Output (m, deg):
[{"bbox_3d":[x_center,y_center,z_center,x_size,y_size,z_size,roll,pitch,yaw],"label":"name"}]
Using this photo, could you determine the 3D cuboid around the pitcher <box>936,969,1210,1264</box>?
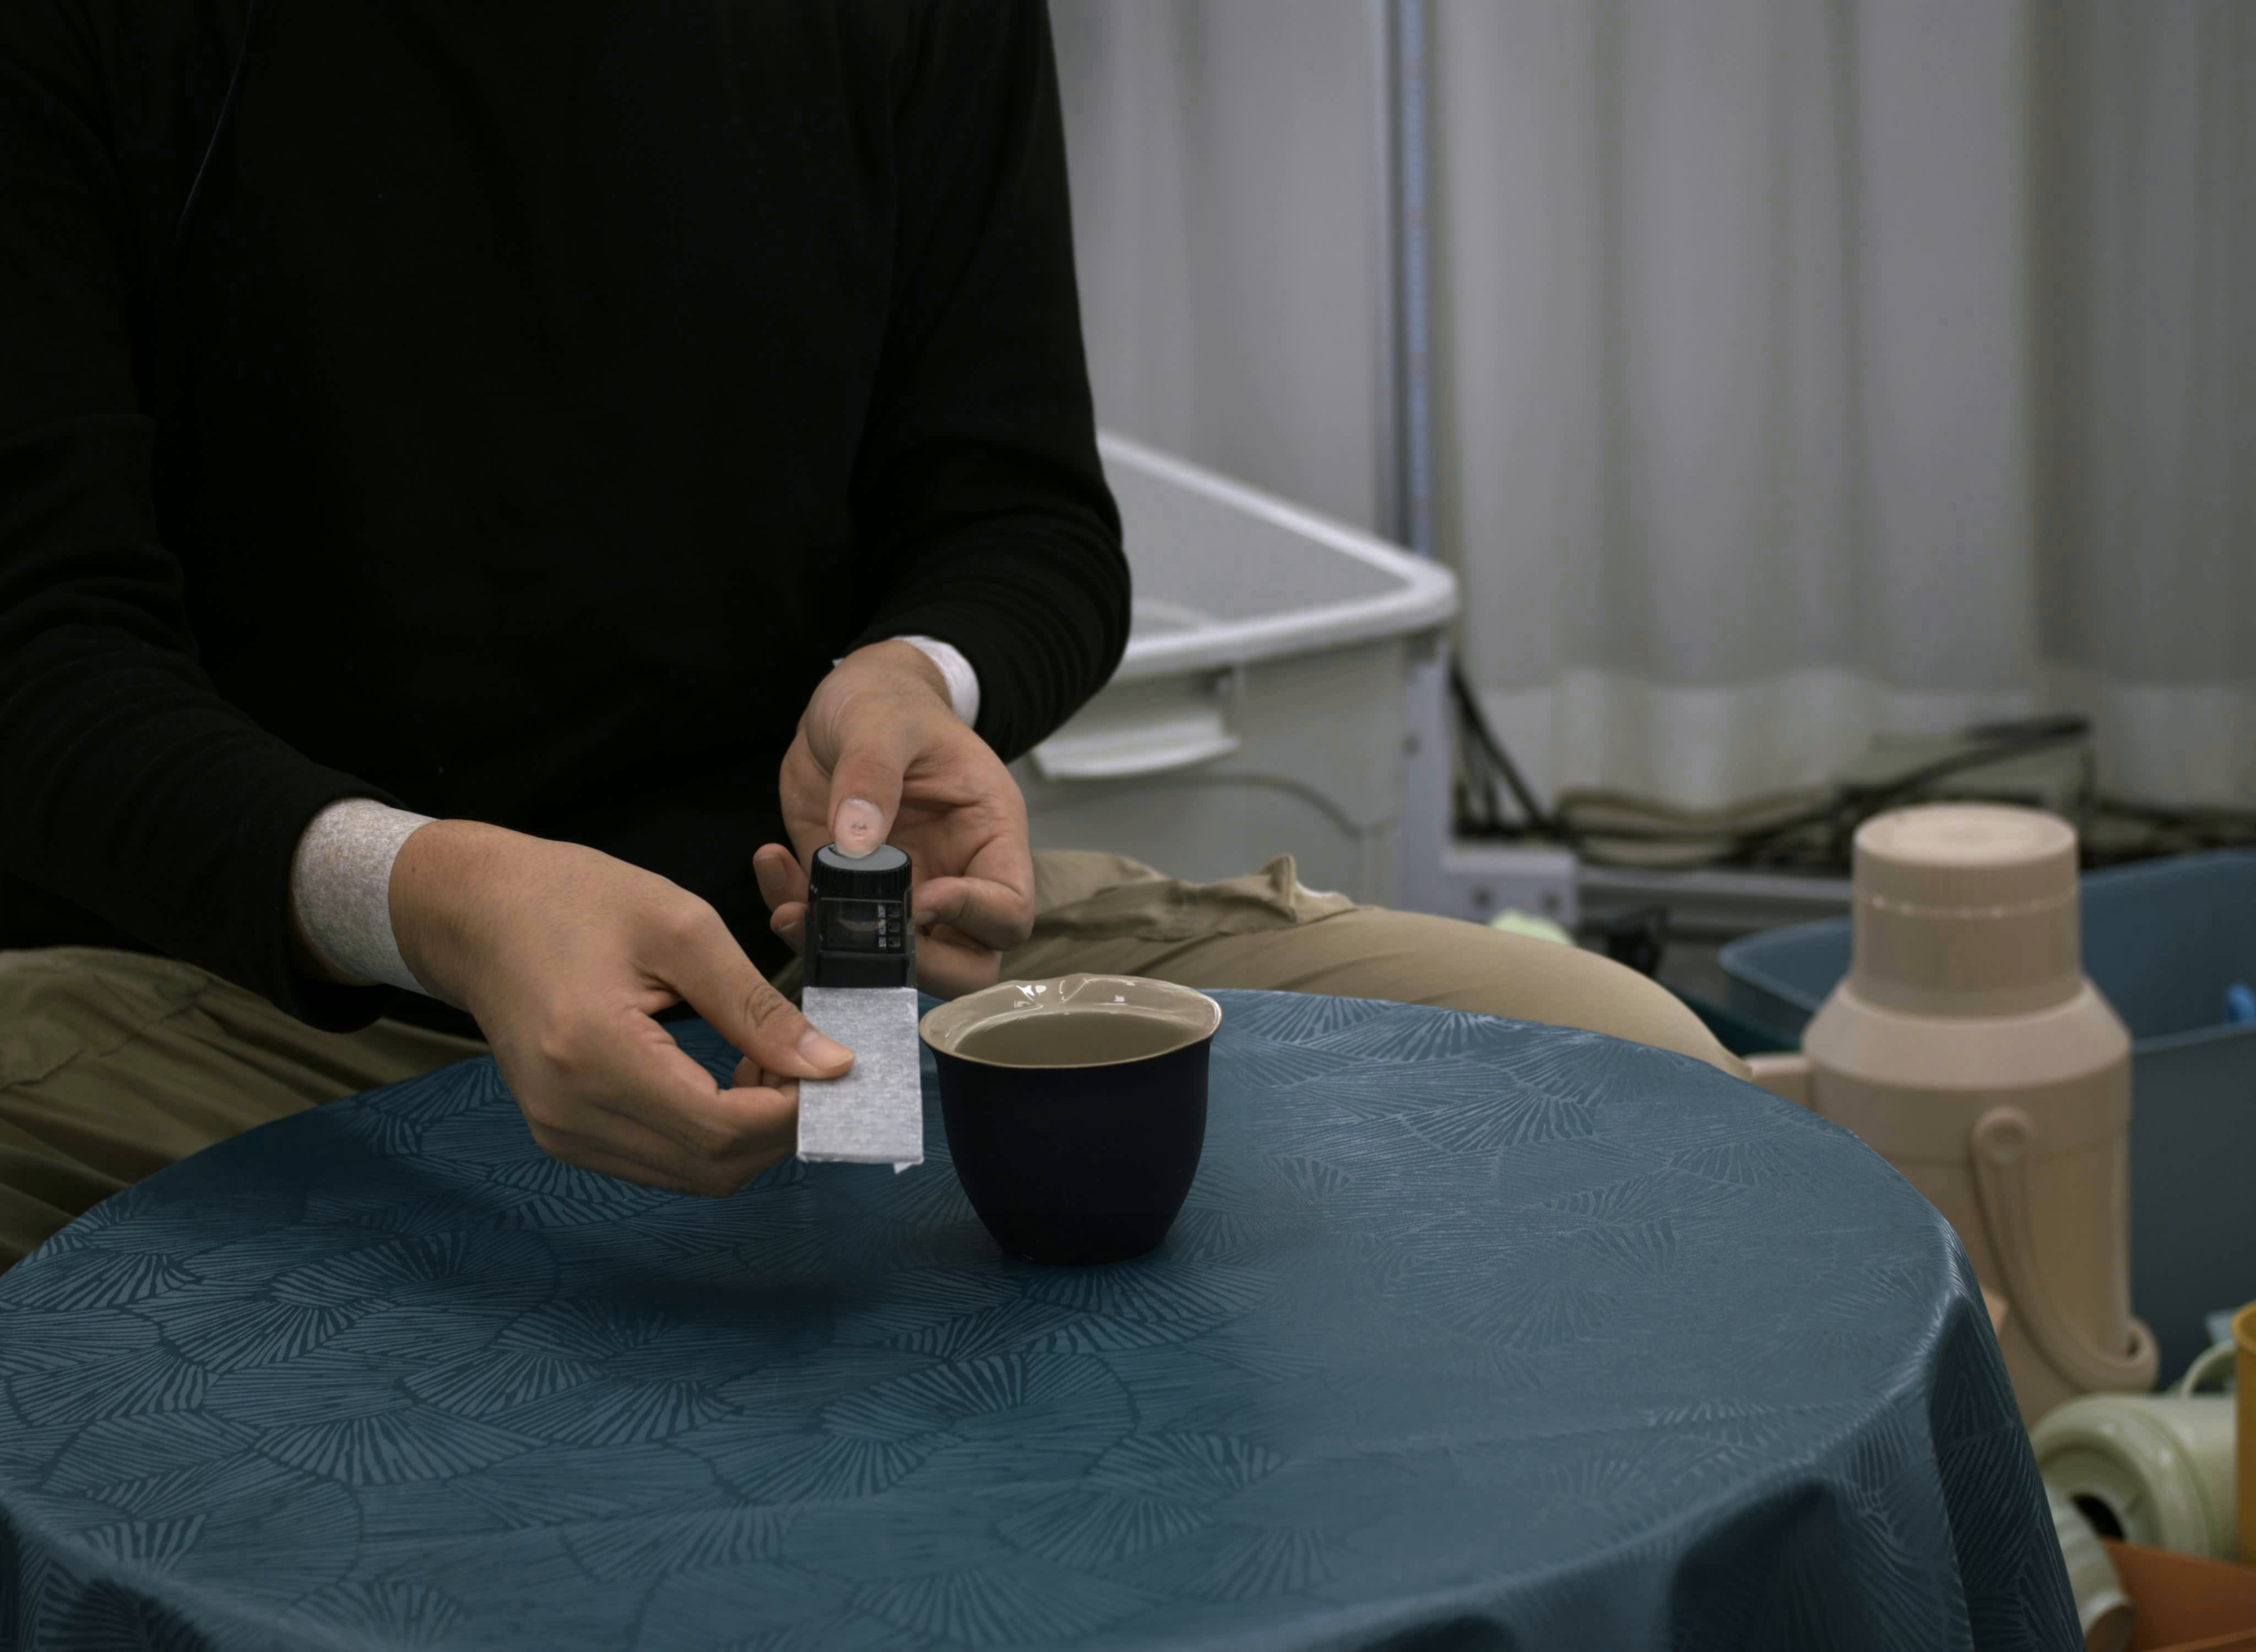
[{"bbox_3d":[-0.016,0.090,1.668,0.083,0.071,0.097,-6,15,-8],"label":"pitcher"}]

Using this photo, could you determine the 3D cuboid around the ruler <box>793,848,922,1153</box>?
[{"bbox_3d":[-0.082,0.050,1.653,0.038,0.024,0.220,-4,18,-1],"label":"ruler"}]
